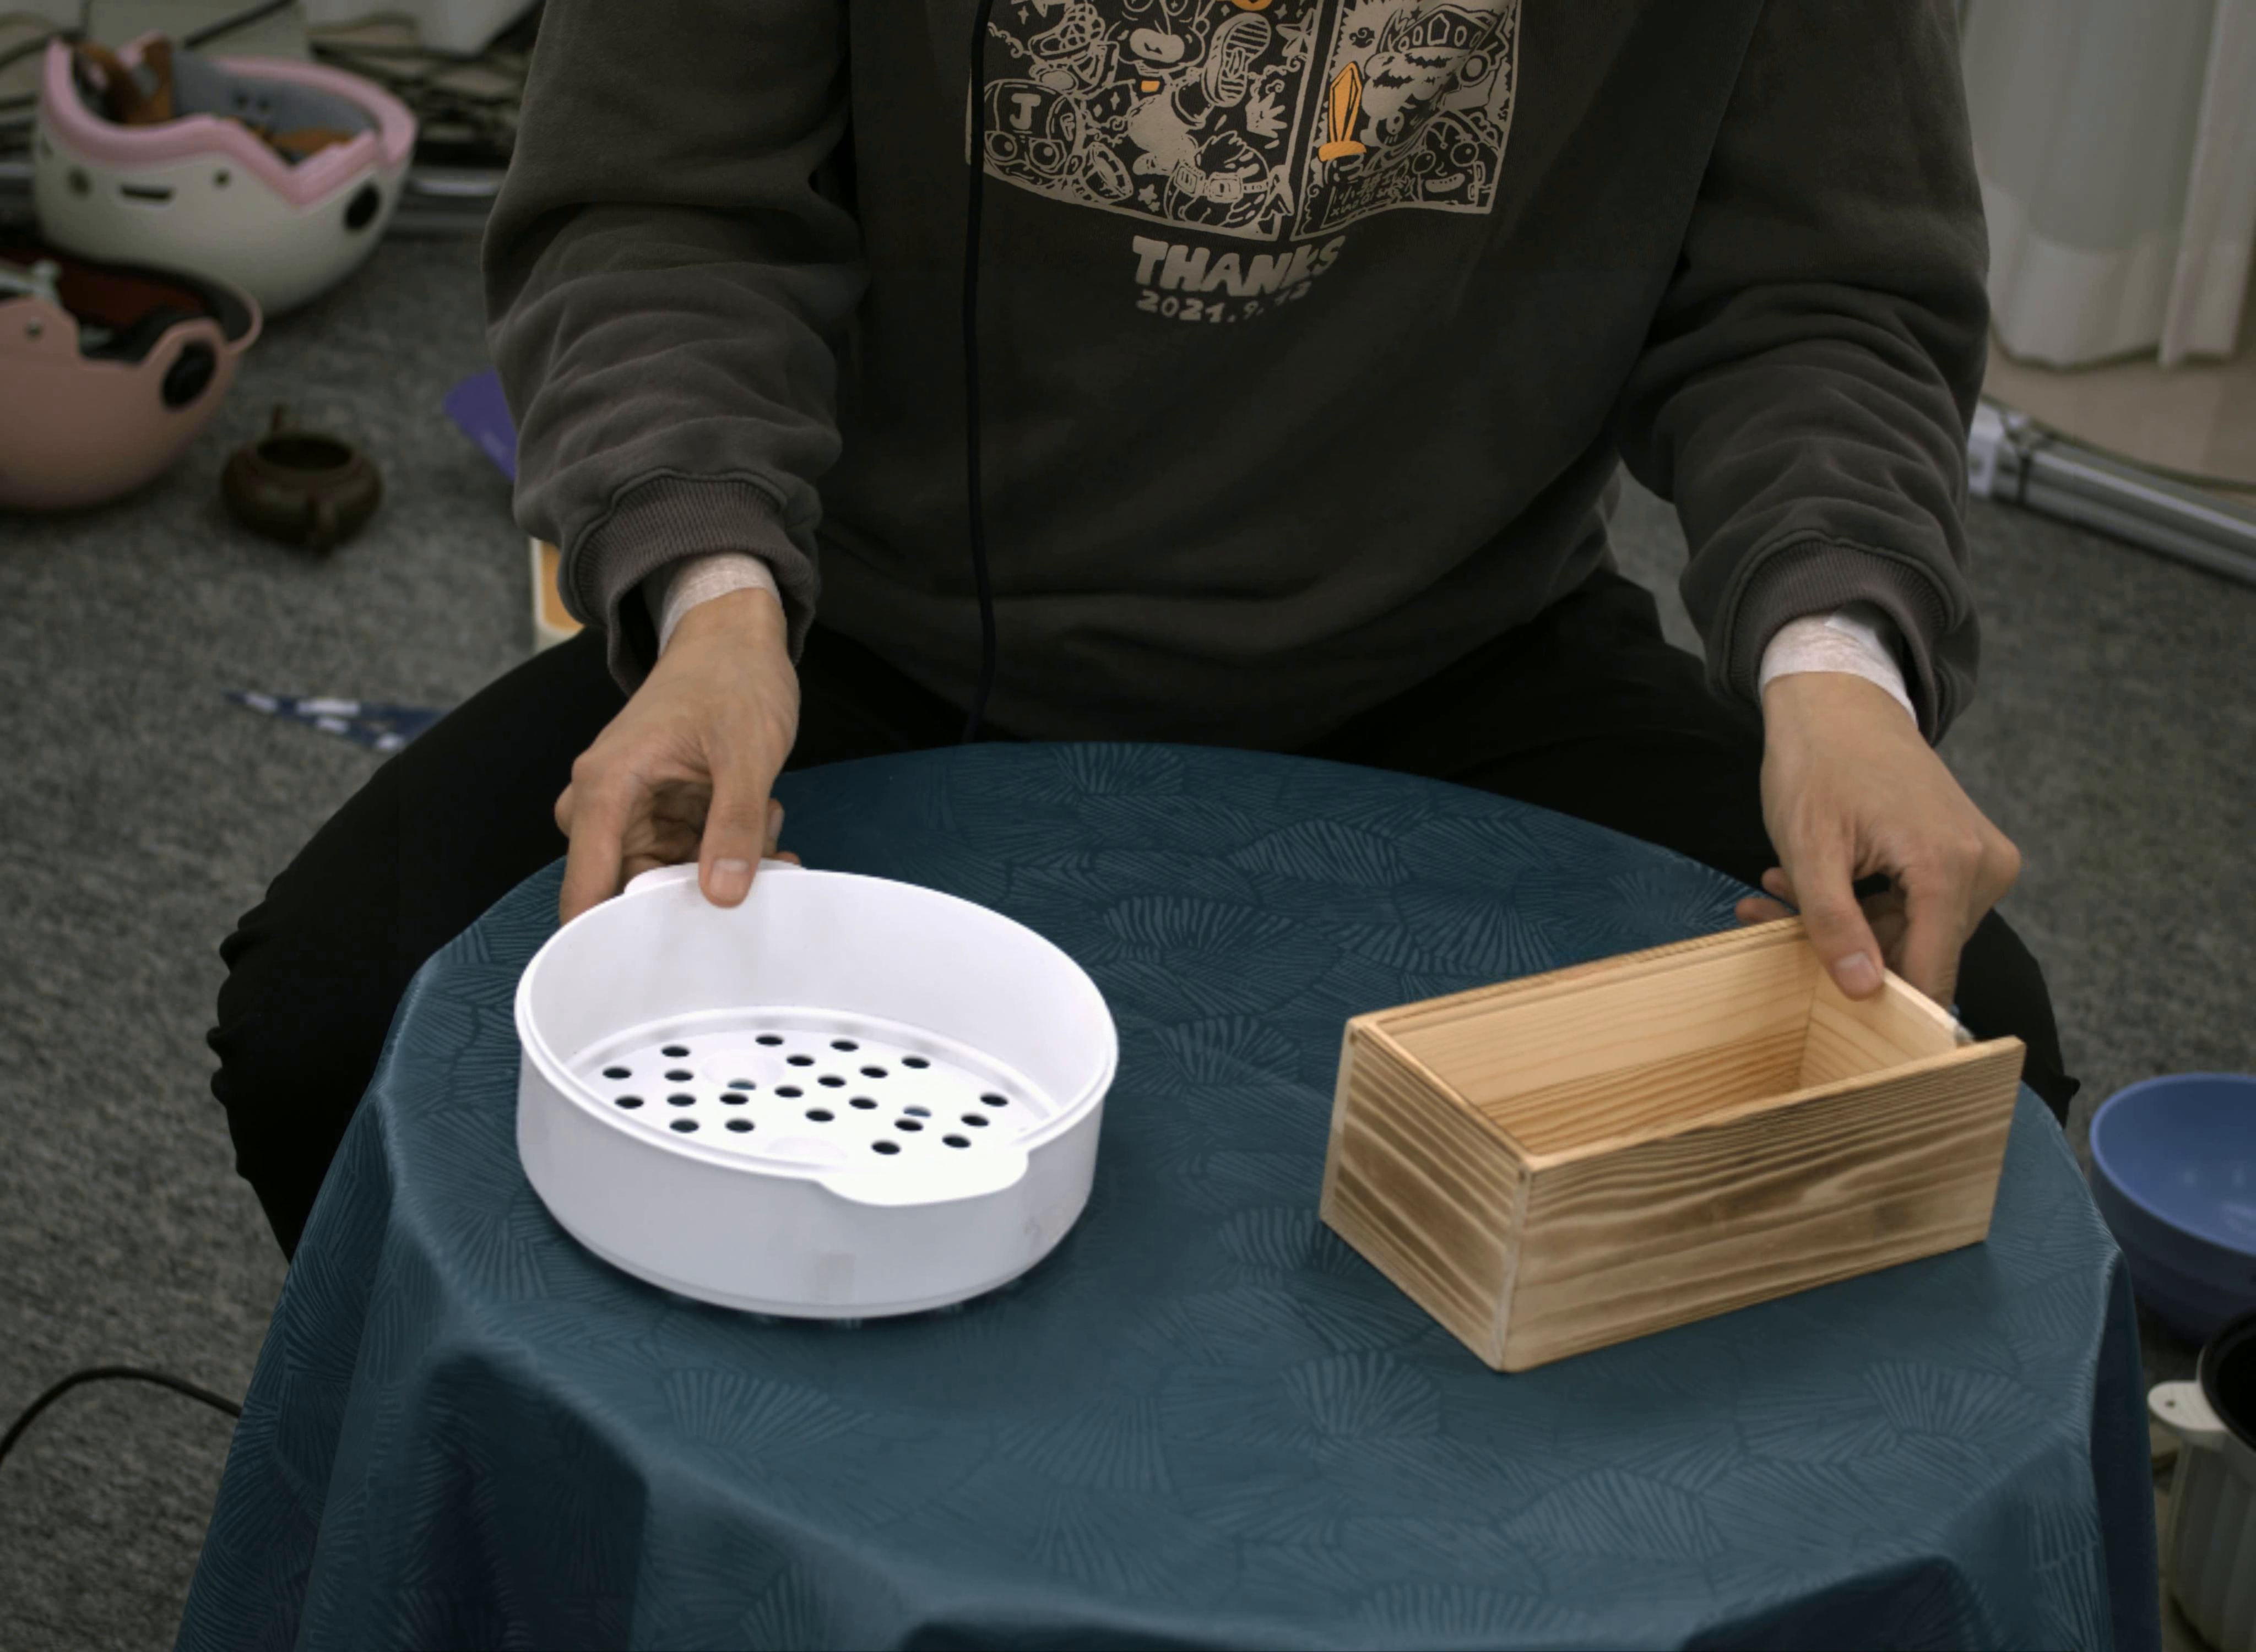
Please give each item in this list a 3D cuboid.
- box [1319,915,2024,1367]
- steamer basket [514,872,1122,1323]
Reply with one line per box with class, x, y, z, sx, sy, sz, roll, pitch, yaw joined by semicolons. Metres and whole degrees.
box;0.183;0.104;1.796;0.210;0.080;0.108;-11;31;-31
steamer basket;-0.105;0.091;1.769;0.200;0.069;0.232;-5;28;-24
